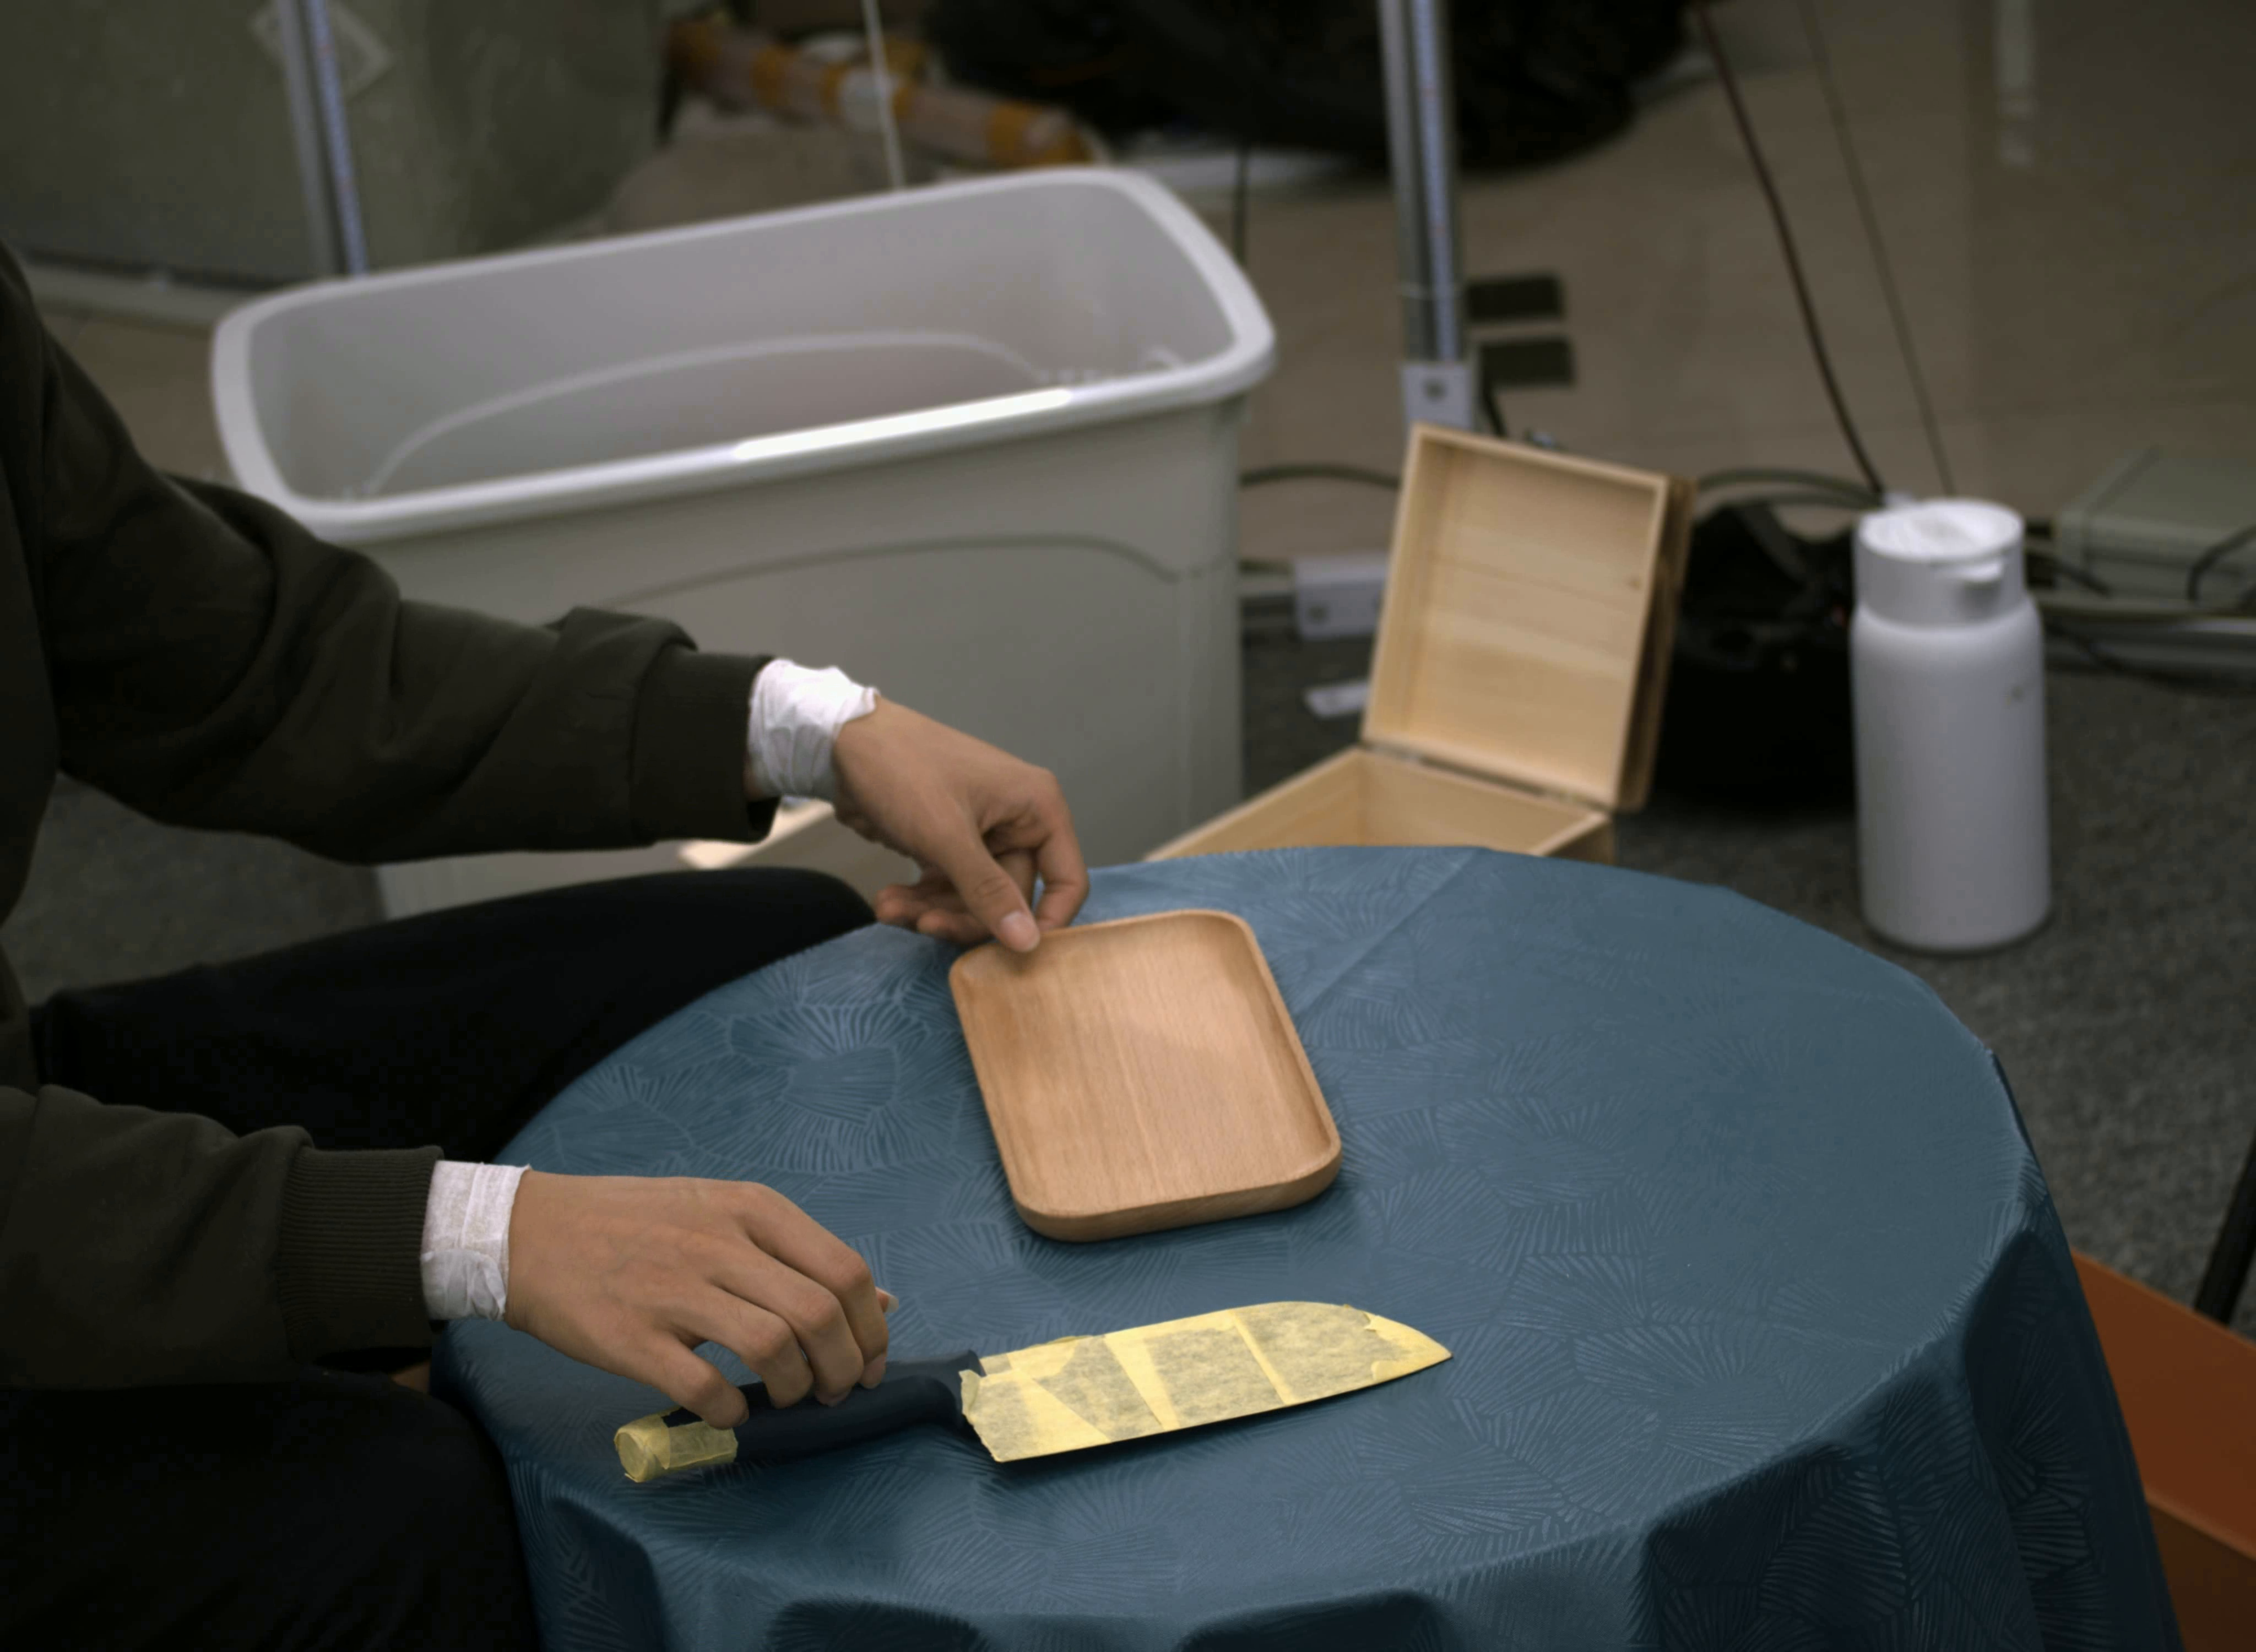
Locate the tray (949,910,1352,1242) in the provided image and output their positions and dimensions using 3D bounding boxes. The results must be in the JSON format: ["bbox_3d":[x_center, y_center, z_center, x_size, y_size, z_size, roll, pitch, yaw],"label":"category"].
[{"bbox_3d":[0.007,0.096,2.224,0.130,0.023,0.247,-11,26,-4],"label":"tray"}]

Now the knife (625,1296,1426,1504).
[{"bbox_3d":[-0.033,0.204,2.003,0.289,0.027,0.080,-10,24,-11],"label":"knife"}]
